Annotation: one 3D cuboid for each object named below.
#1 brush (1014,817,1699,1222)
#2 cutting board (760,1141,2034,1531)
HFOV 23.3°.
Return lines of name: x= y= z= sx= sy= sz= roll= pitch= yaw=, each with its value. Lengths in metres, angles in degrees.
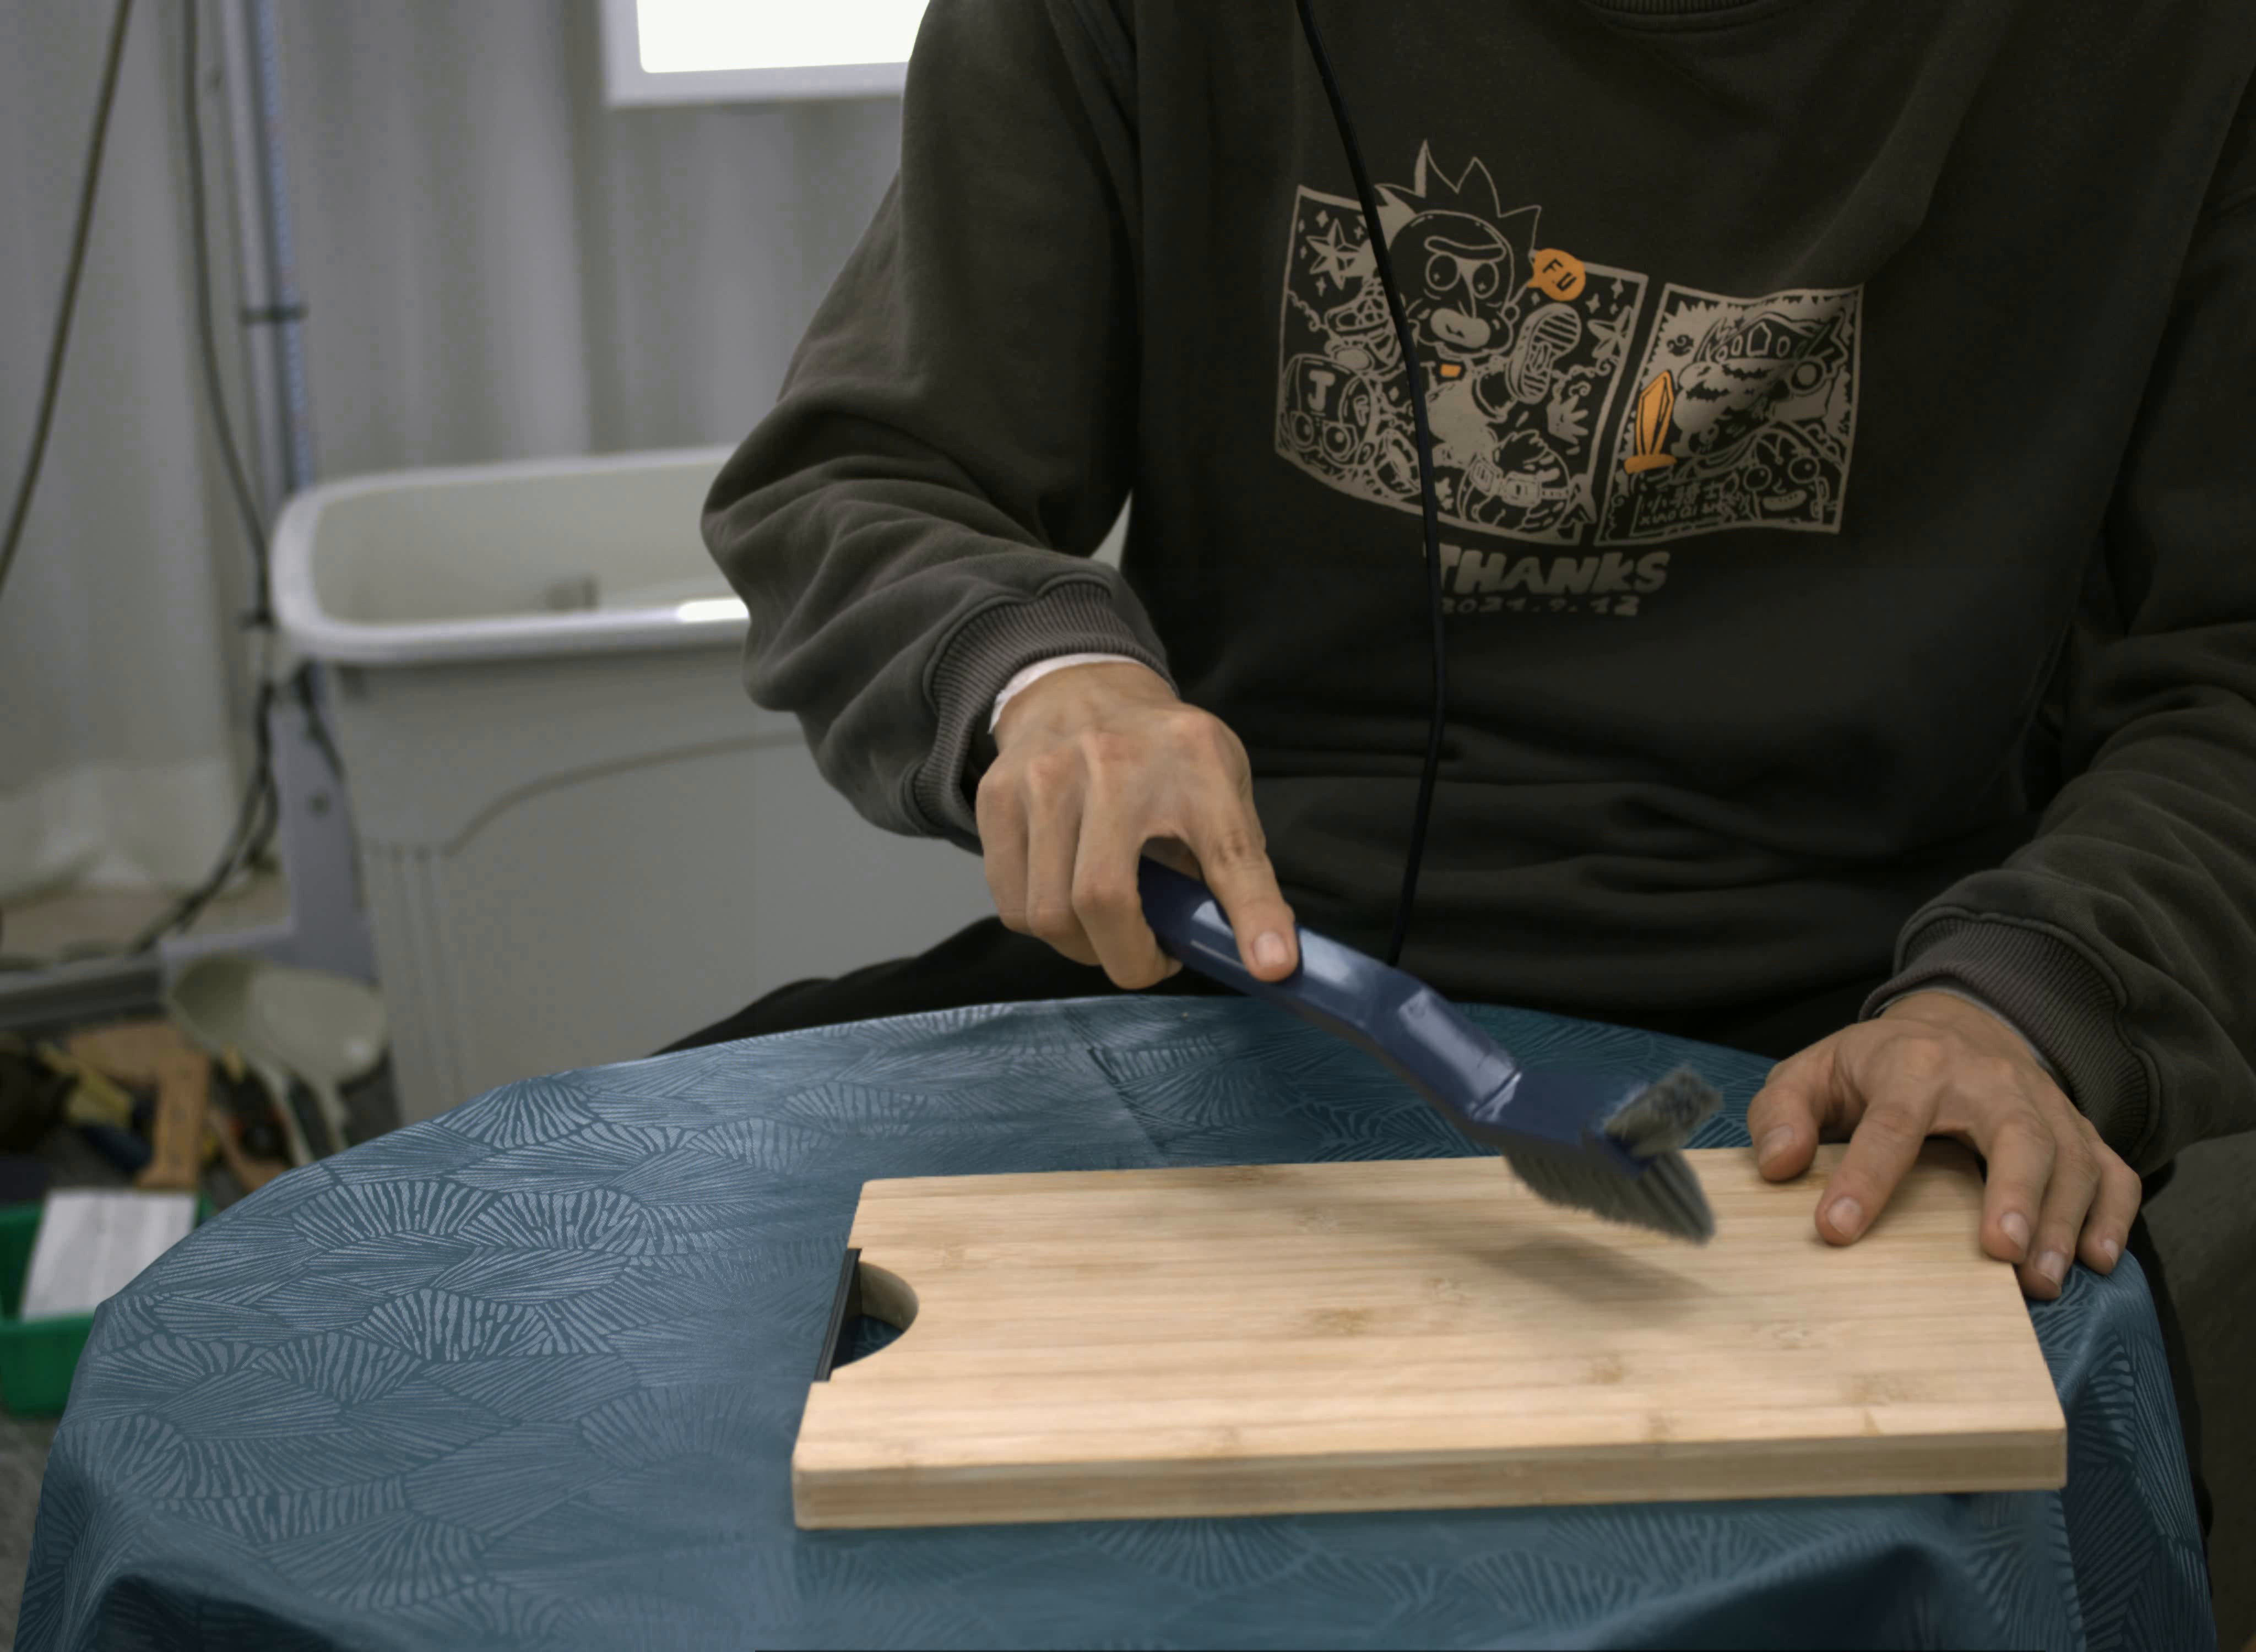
brush: x=0.063 y=0.044 z=1.610 sx=0.275 sy=0.094 sz=0.033 roll=29 pitch=65 yaw=36
cutting board: x=0.077 y=0.144 z=1.568 sx=0.347 sy=0.023 sz=0.252 roll=-2 pitch=15 yaw=2
